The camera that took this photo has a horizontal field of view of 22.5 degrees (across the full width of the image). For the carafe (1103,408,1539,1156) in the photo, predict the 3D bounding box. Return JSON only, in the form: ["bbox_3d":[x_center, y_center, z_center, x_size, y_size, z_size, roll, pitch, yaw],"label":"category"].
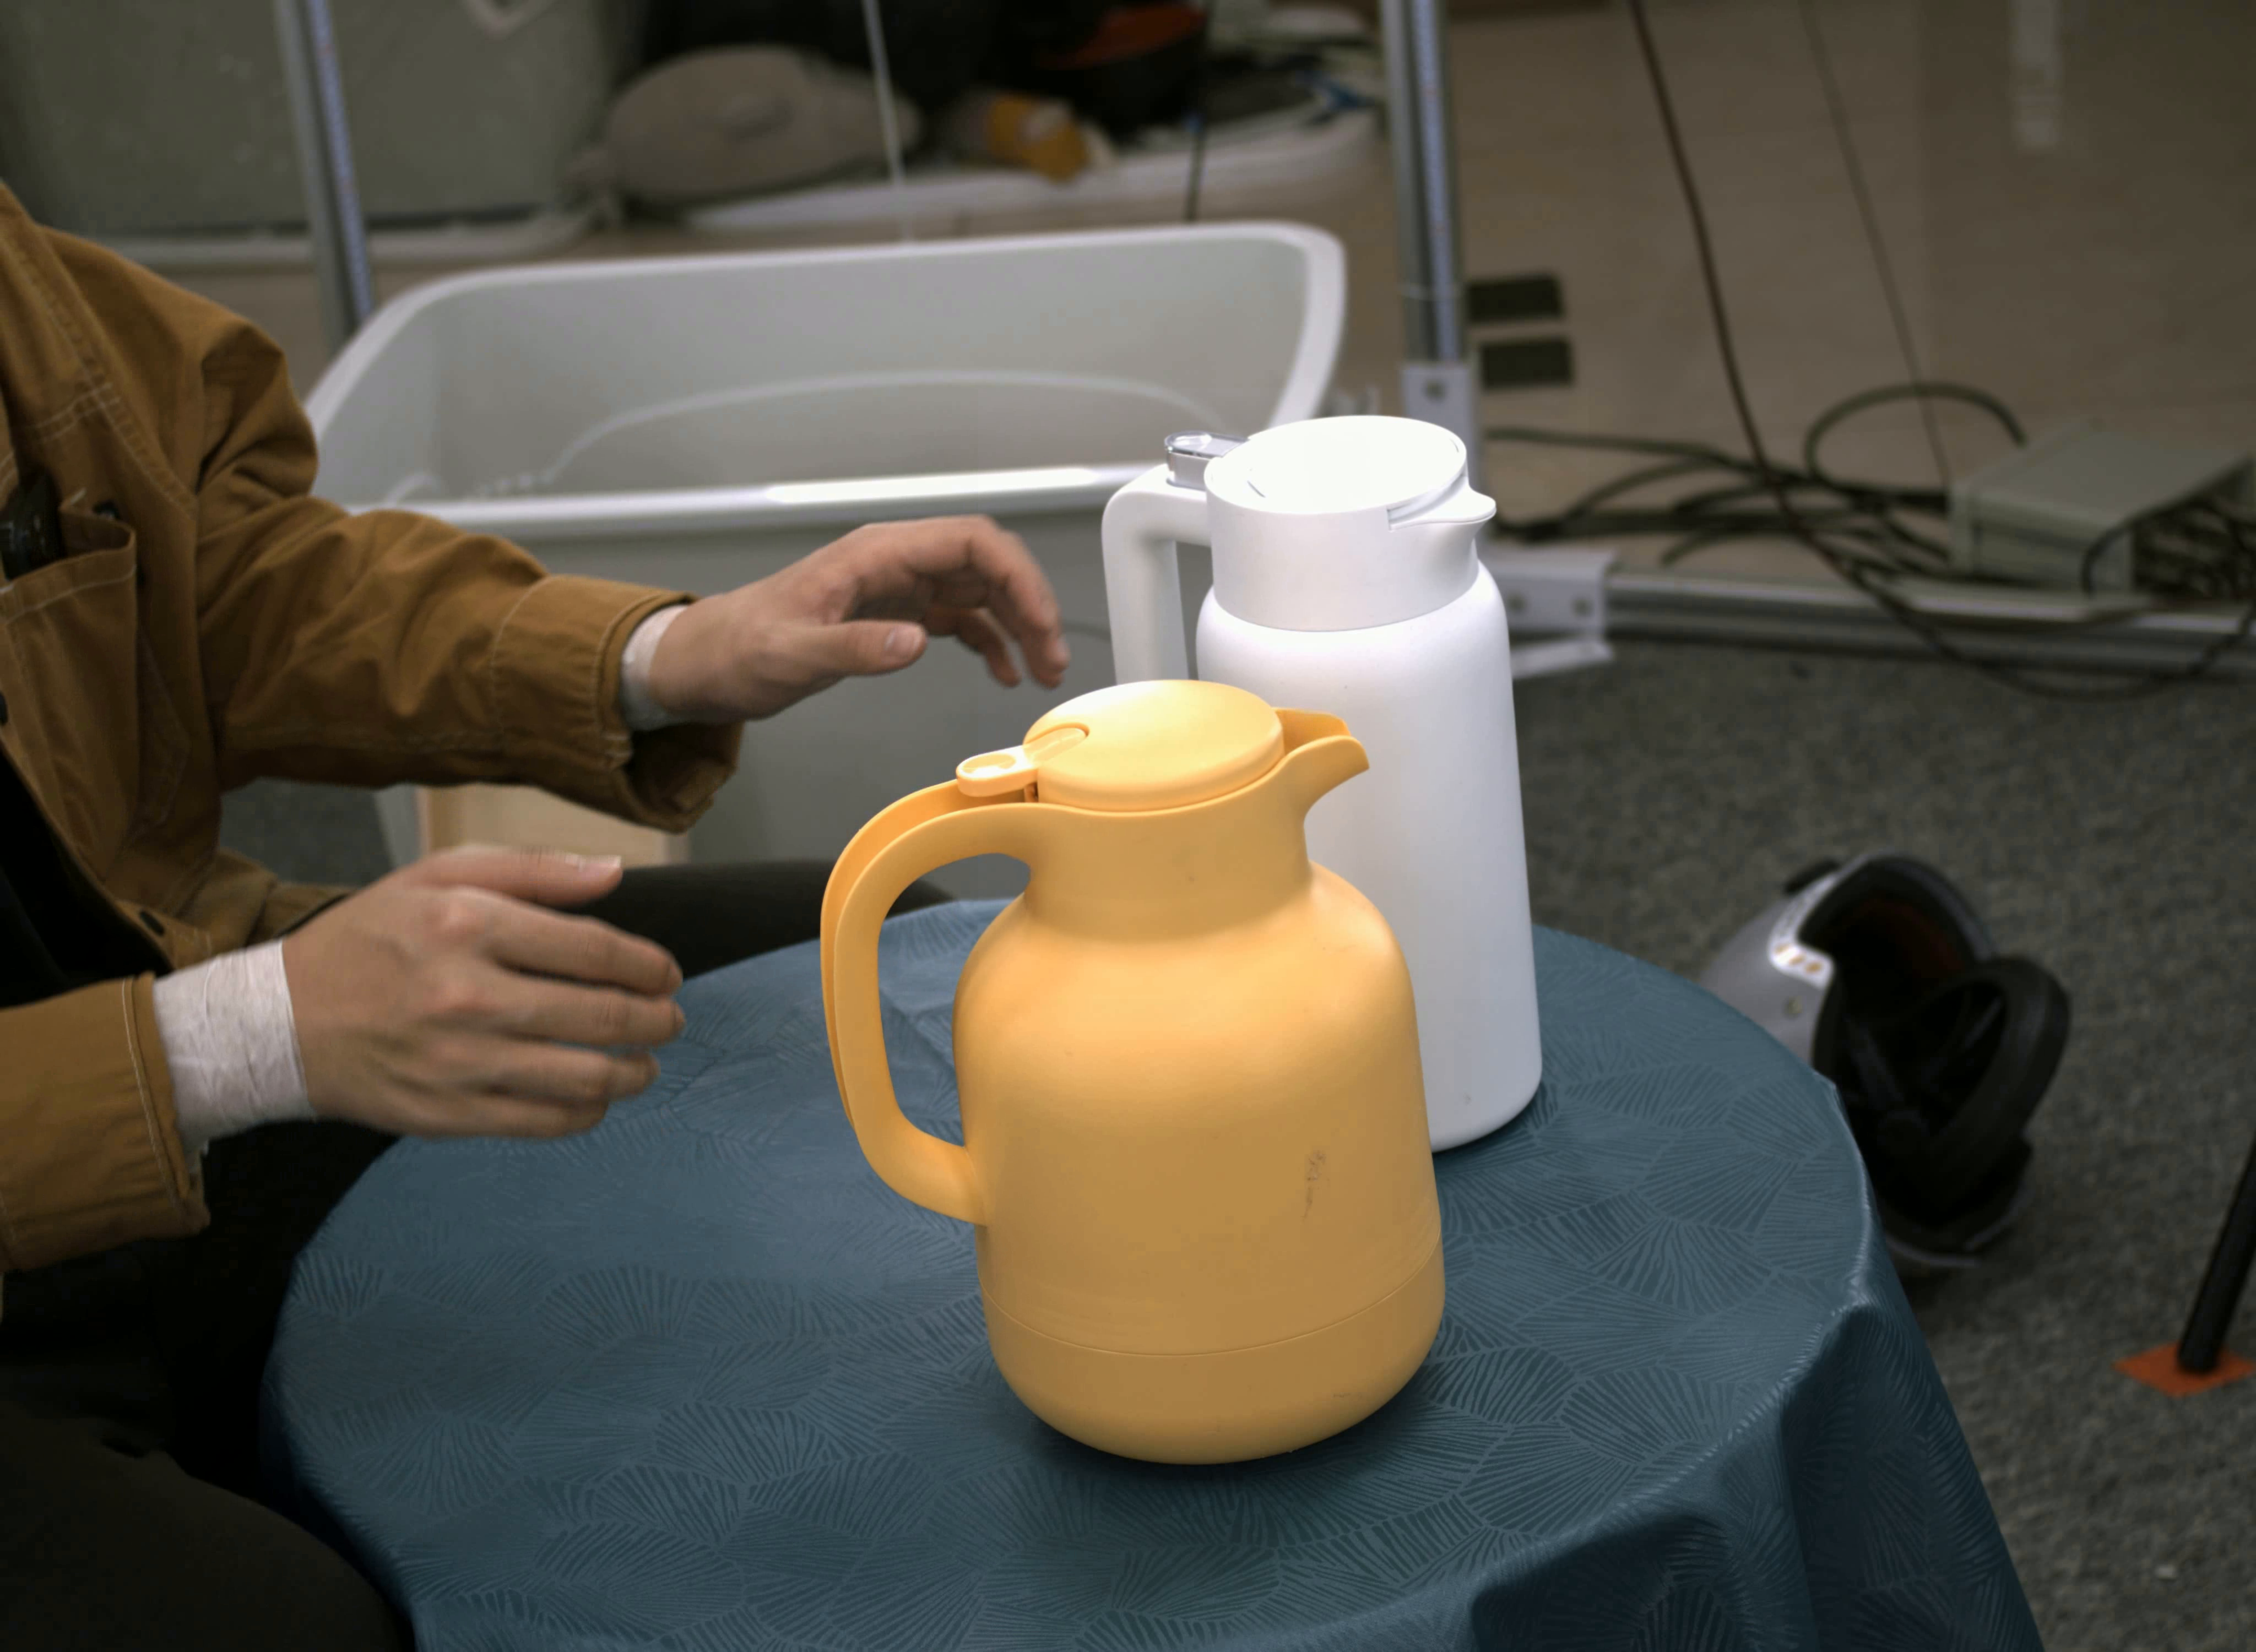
[{"bbox_3d":[0.074,-0.017,2.145,0.172,0.273,0.122,12,33,34],"label":"carafe"}]

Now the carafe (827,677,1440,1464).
[{"bbox_3d":[0.001,0.082,1.957,0.202,0.264,0.161,-9,23,-8],"label":"carafe"}]
